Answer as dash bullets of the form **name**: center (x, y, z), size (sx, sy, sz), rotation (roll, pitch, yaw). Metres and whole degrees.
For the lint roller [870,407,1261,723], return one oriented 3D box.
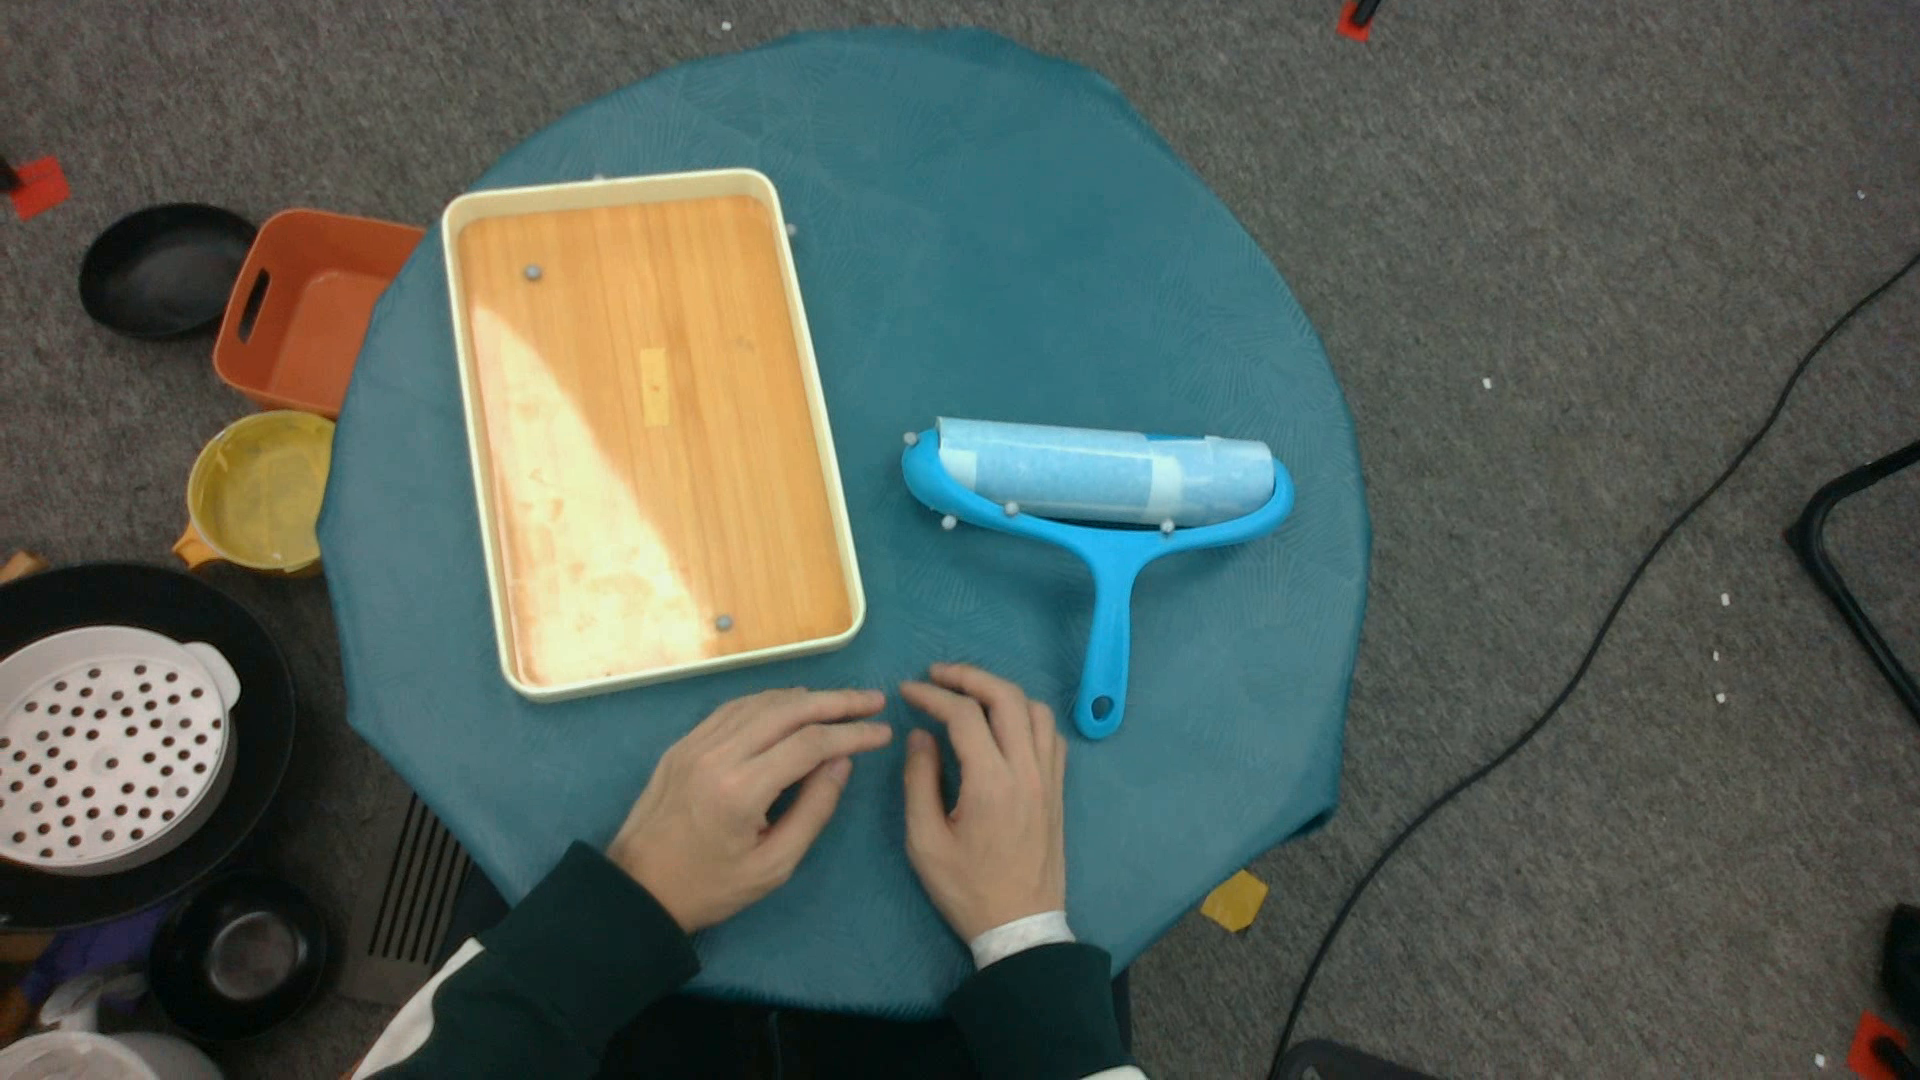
- **lint roller**: center (0.068, 0.008, 0.775), size (0.229, 0.067, 0.181), rotation (-1, 70, -13)

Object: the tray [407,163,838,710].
- **tray**: center (-0.190, -0.067, 0.769), size (0.192, 0.027, 0.301), rotation (-11, 73, -14)
